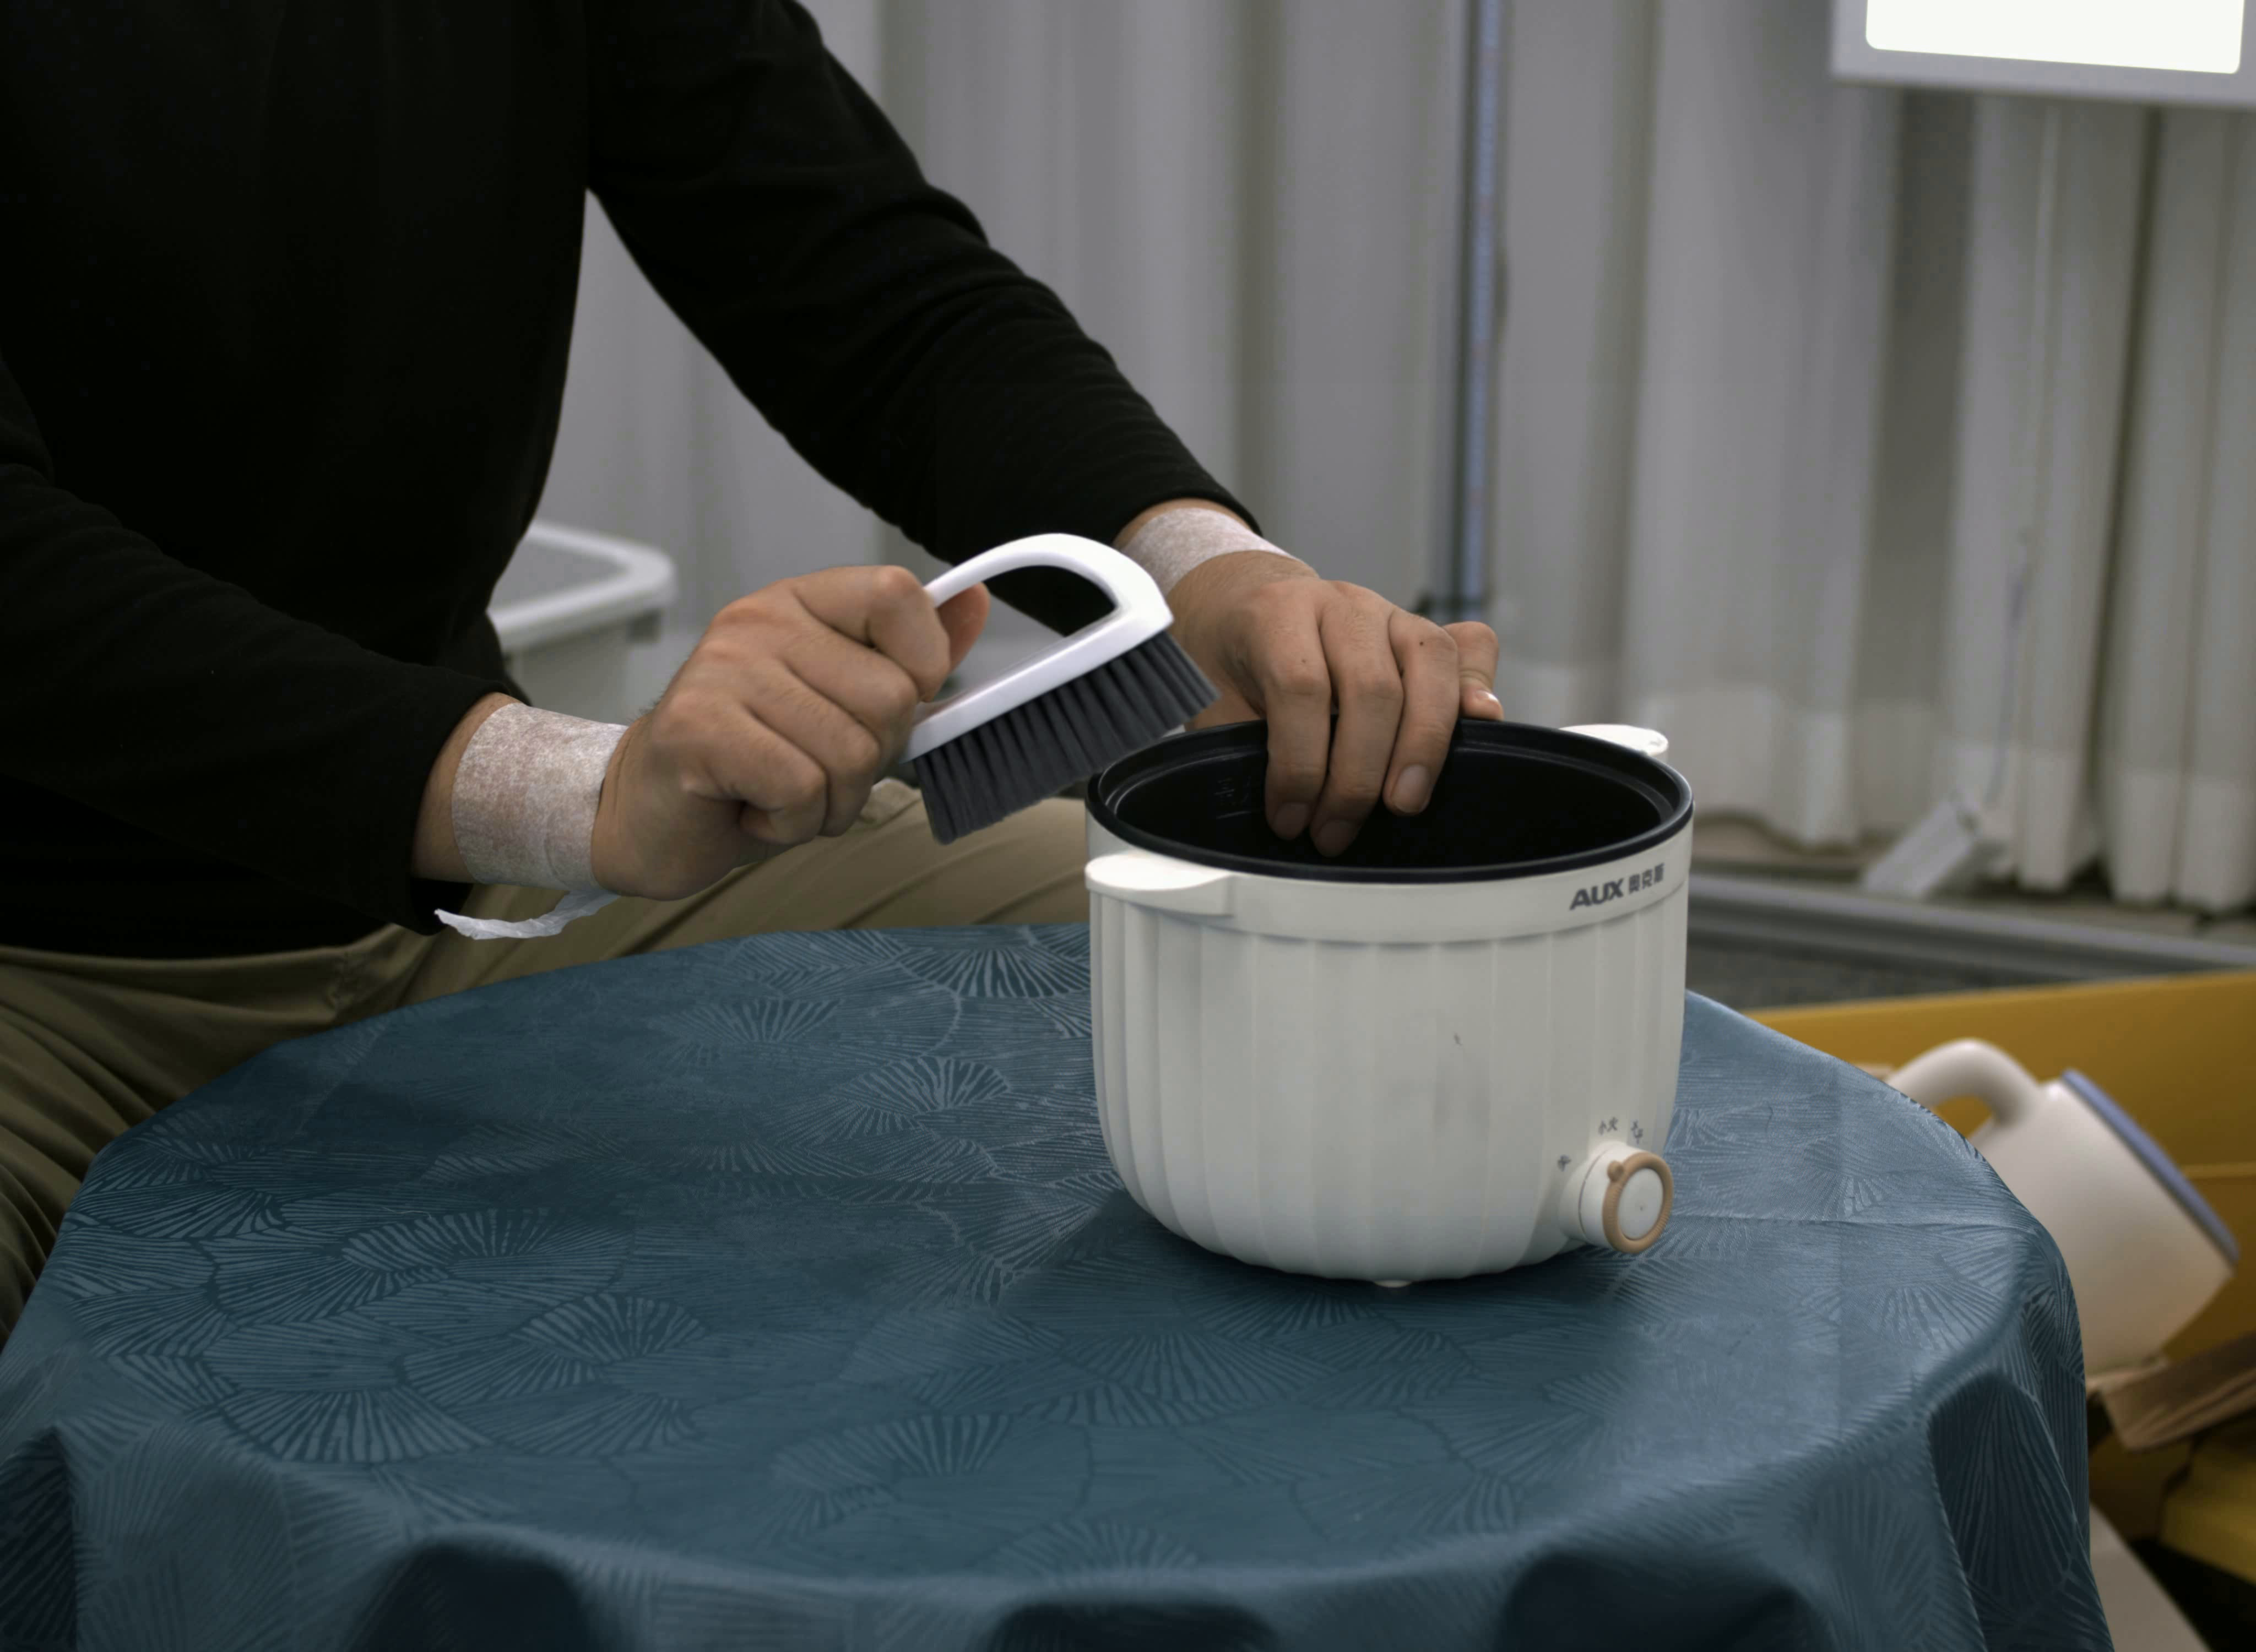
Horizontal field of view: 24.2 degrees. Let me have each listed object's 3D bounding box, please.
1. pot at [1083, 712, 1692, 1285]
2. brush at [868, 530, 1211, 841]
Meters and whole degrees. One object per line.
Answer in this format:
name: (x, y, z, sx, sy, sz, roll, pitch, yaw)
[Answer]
pot: (0.082, 0.053, 1.579, 0.188, 0.144, 0.241, 11, 20, 42)
brush: (-0.033, -0.048, 1.561, 0.099, 0.073, 0.050, -26, 9, 29)
